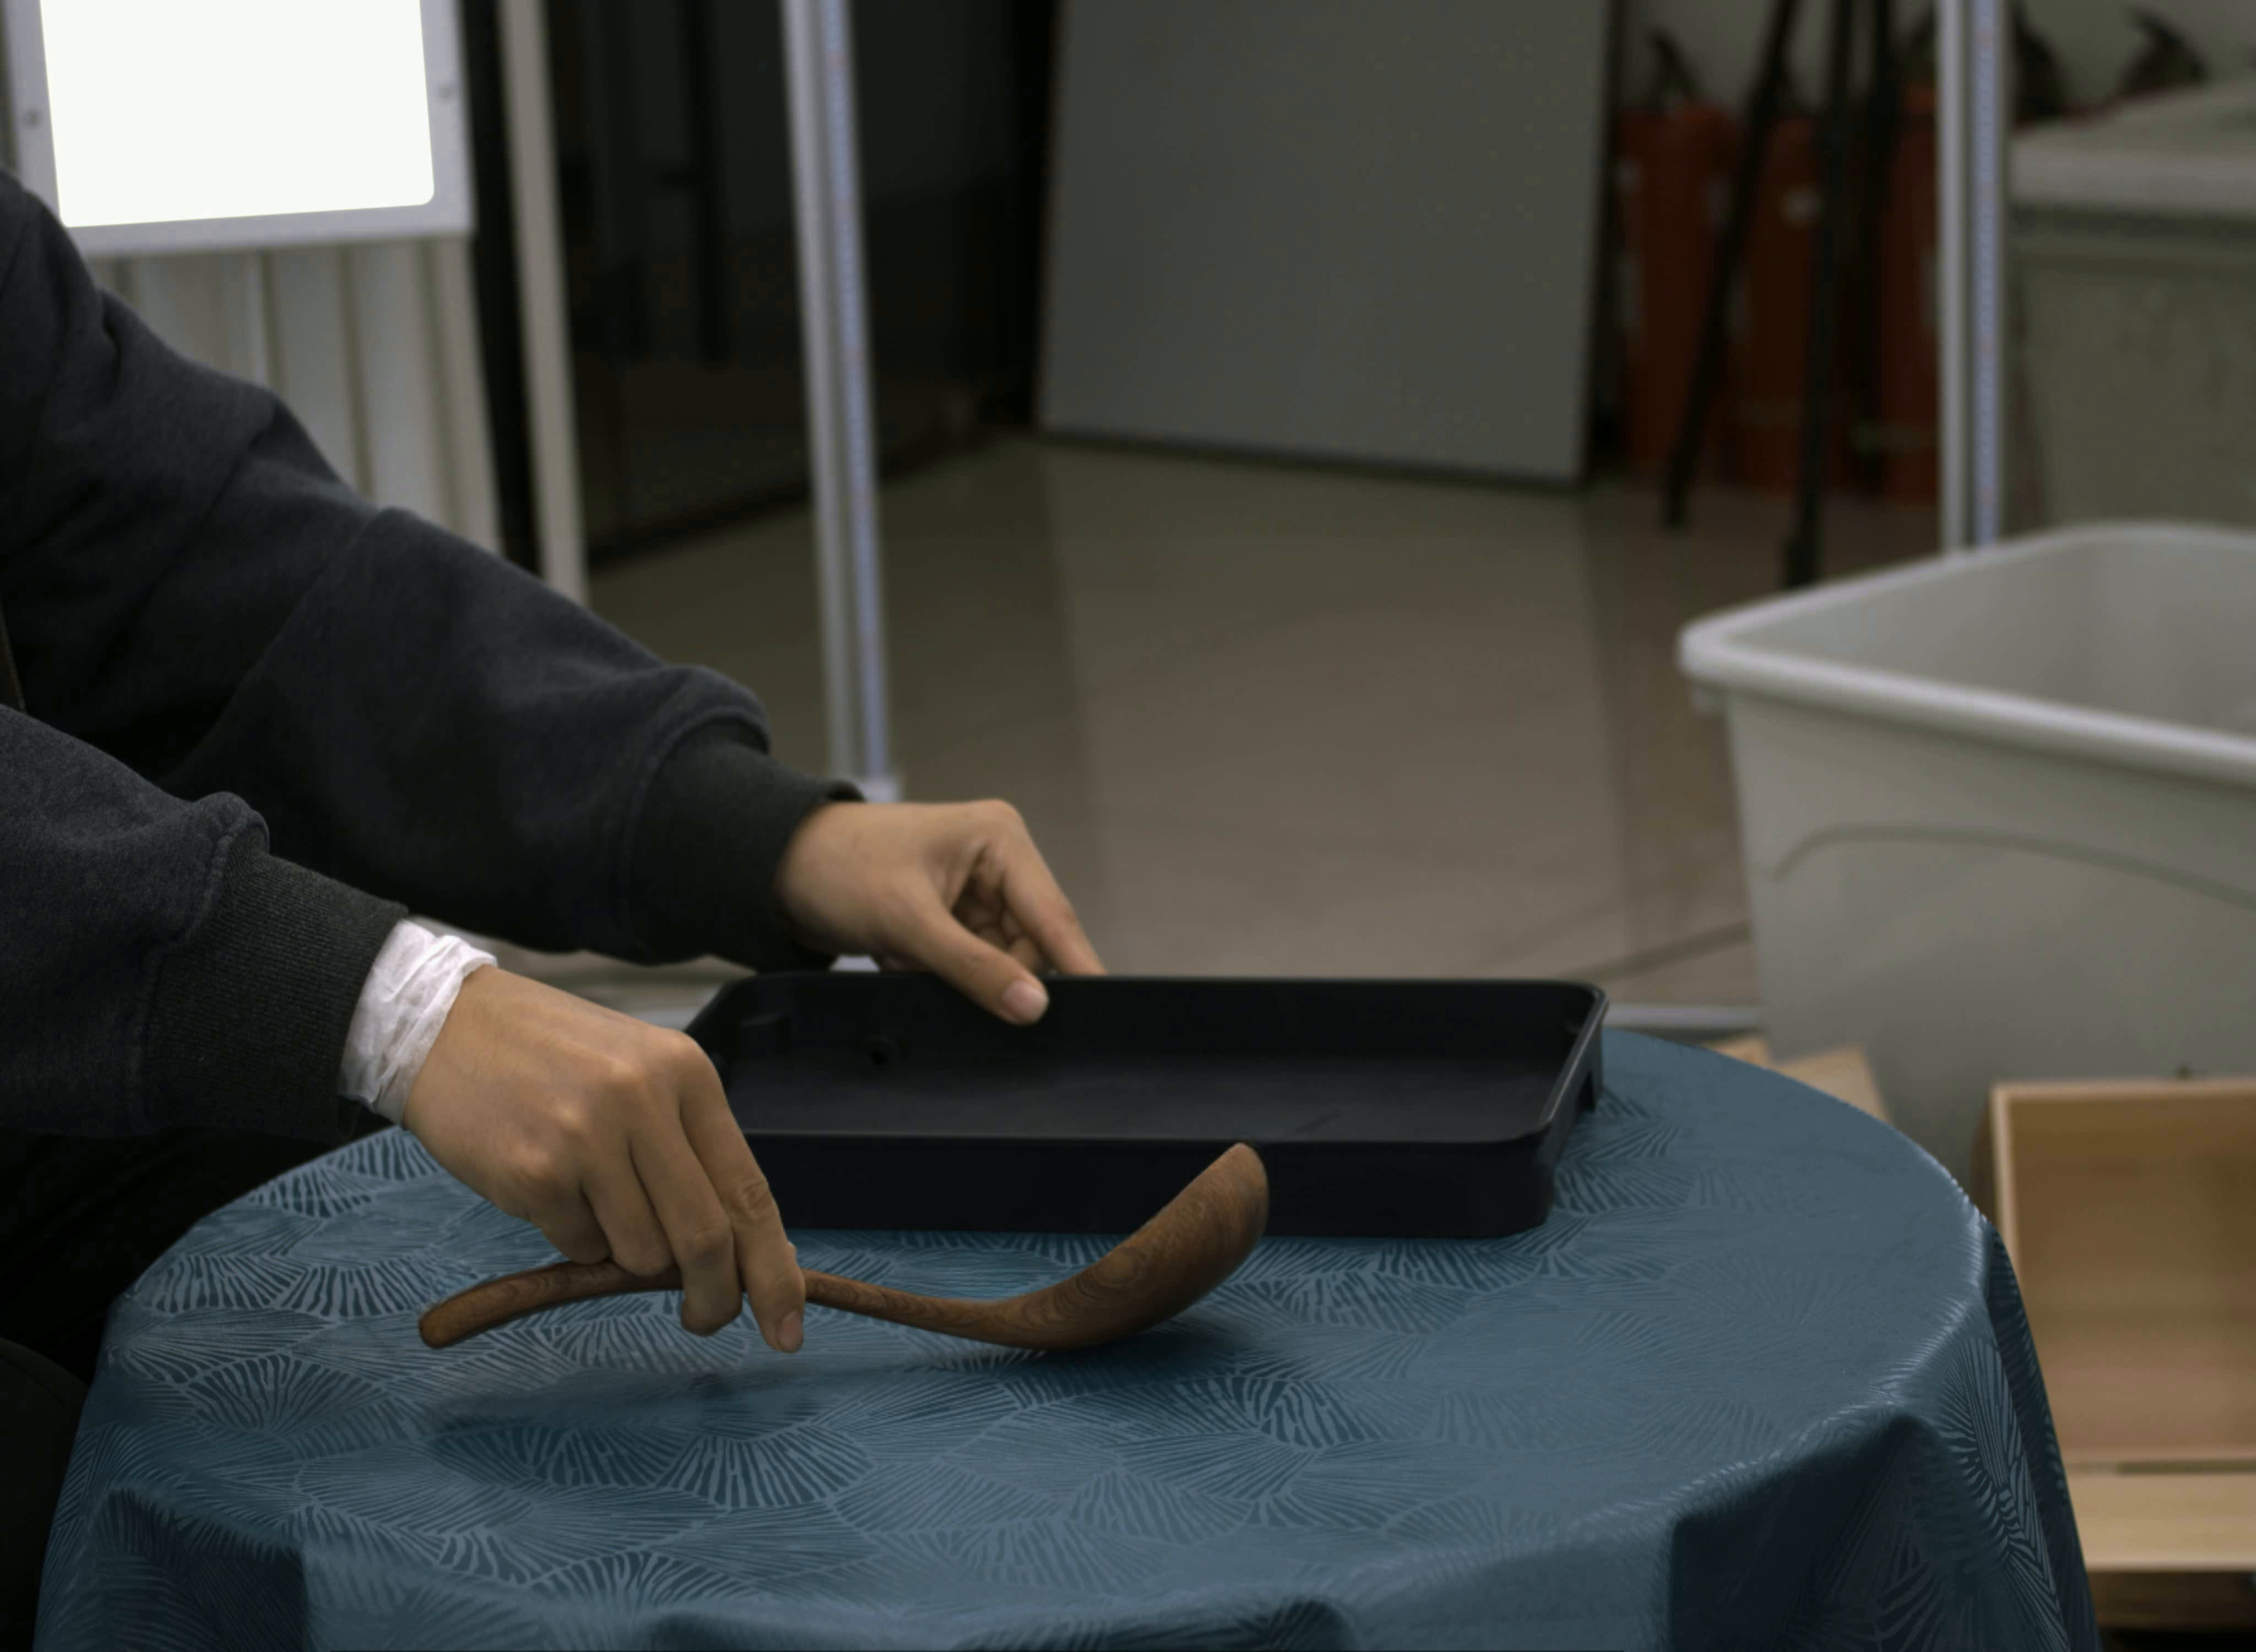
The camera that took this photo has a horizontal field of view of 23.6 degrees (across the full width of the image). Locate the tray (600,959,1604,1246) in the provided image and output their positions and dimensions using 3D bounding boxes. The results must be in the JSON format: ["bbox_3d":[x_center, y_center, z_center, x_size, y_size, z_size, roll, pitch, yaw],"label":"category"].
[{"bbox_3d":[-0.005,0.090,1.809,0.316,0.037,0.183,1,15,14],"label":"tray"}]

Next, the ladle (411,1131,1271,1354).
[{"bbox_3d":[-0.085,0.125,1.617,0.257,0.066,0.076,0,-12,2],"label":"ladle"}]
